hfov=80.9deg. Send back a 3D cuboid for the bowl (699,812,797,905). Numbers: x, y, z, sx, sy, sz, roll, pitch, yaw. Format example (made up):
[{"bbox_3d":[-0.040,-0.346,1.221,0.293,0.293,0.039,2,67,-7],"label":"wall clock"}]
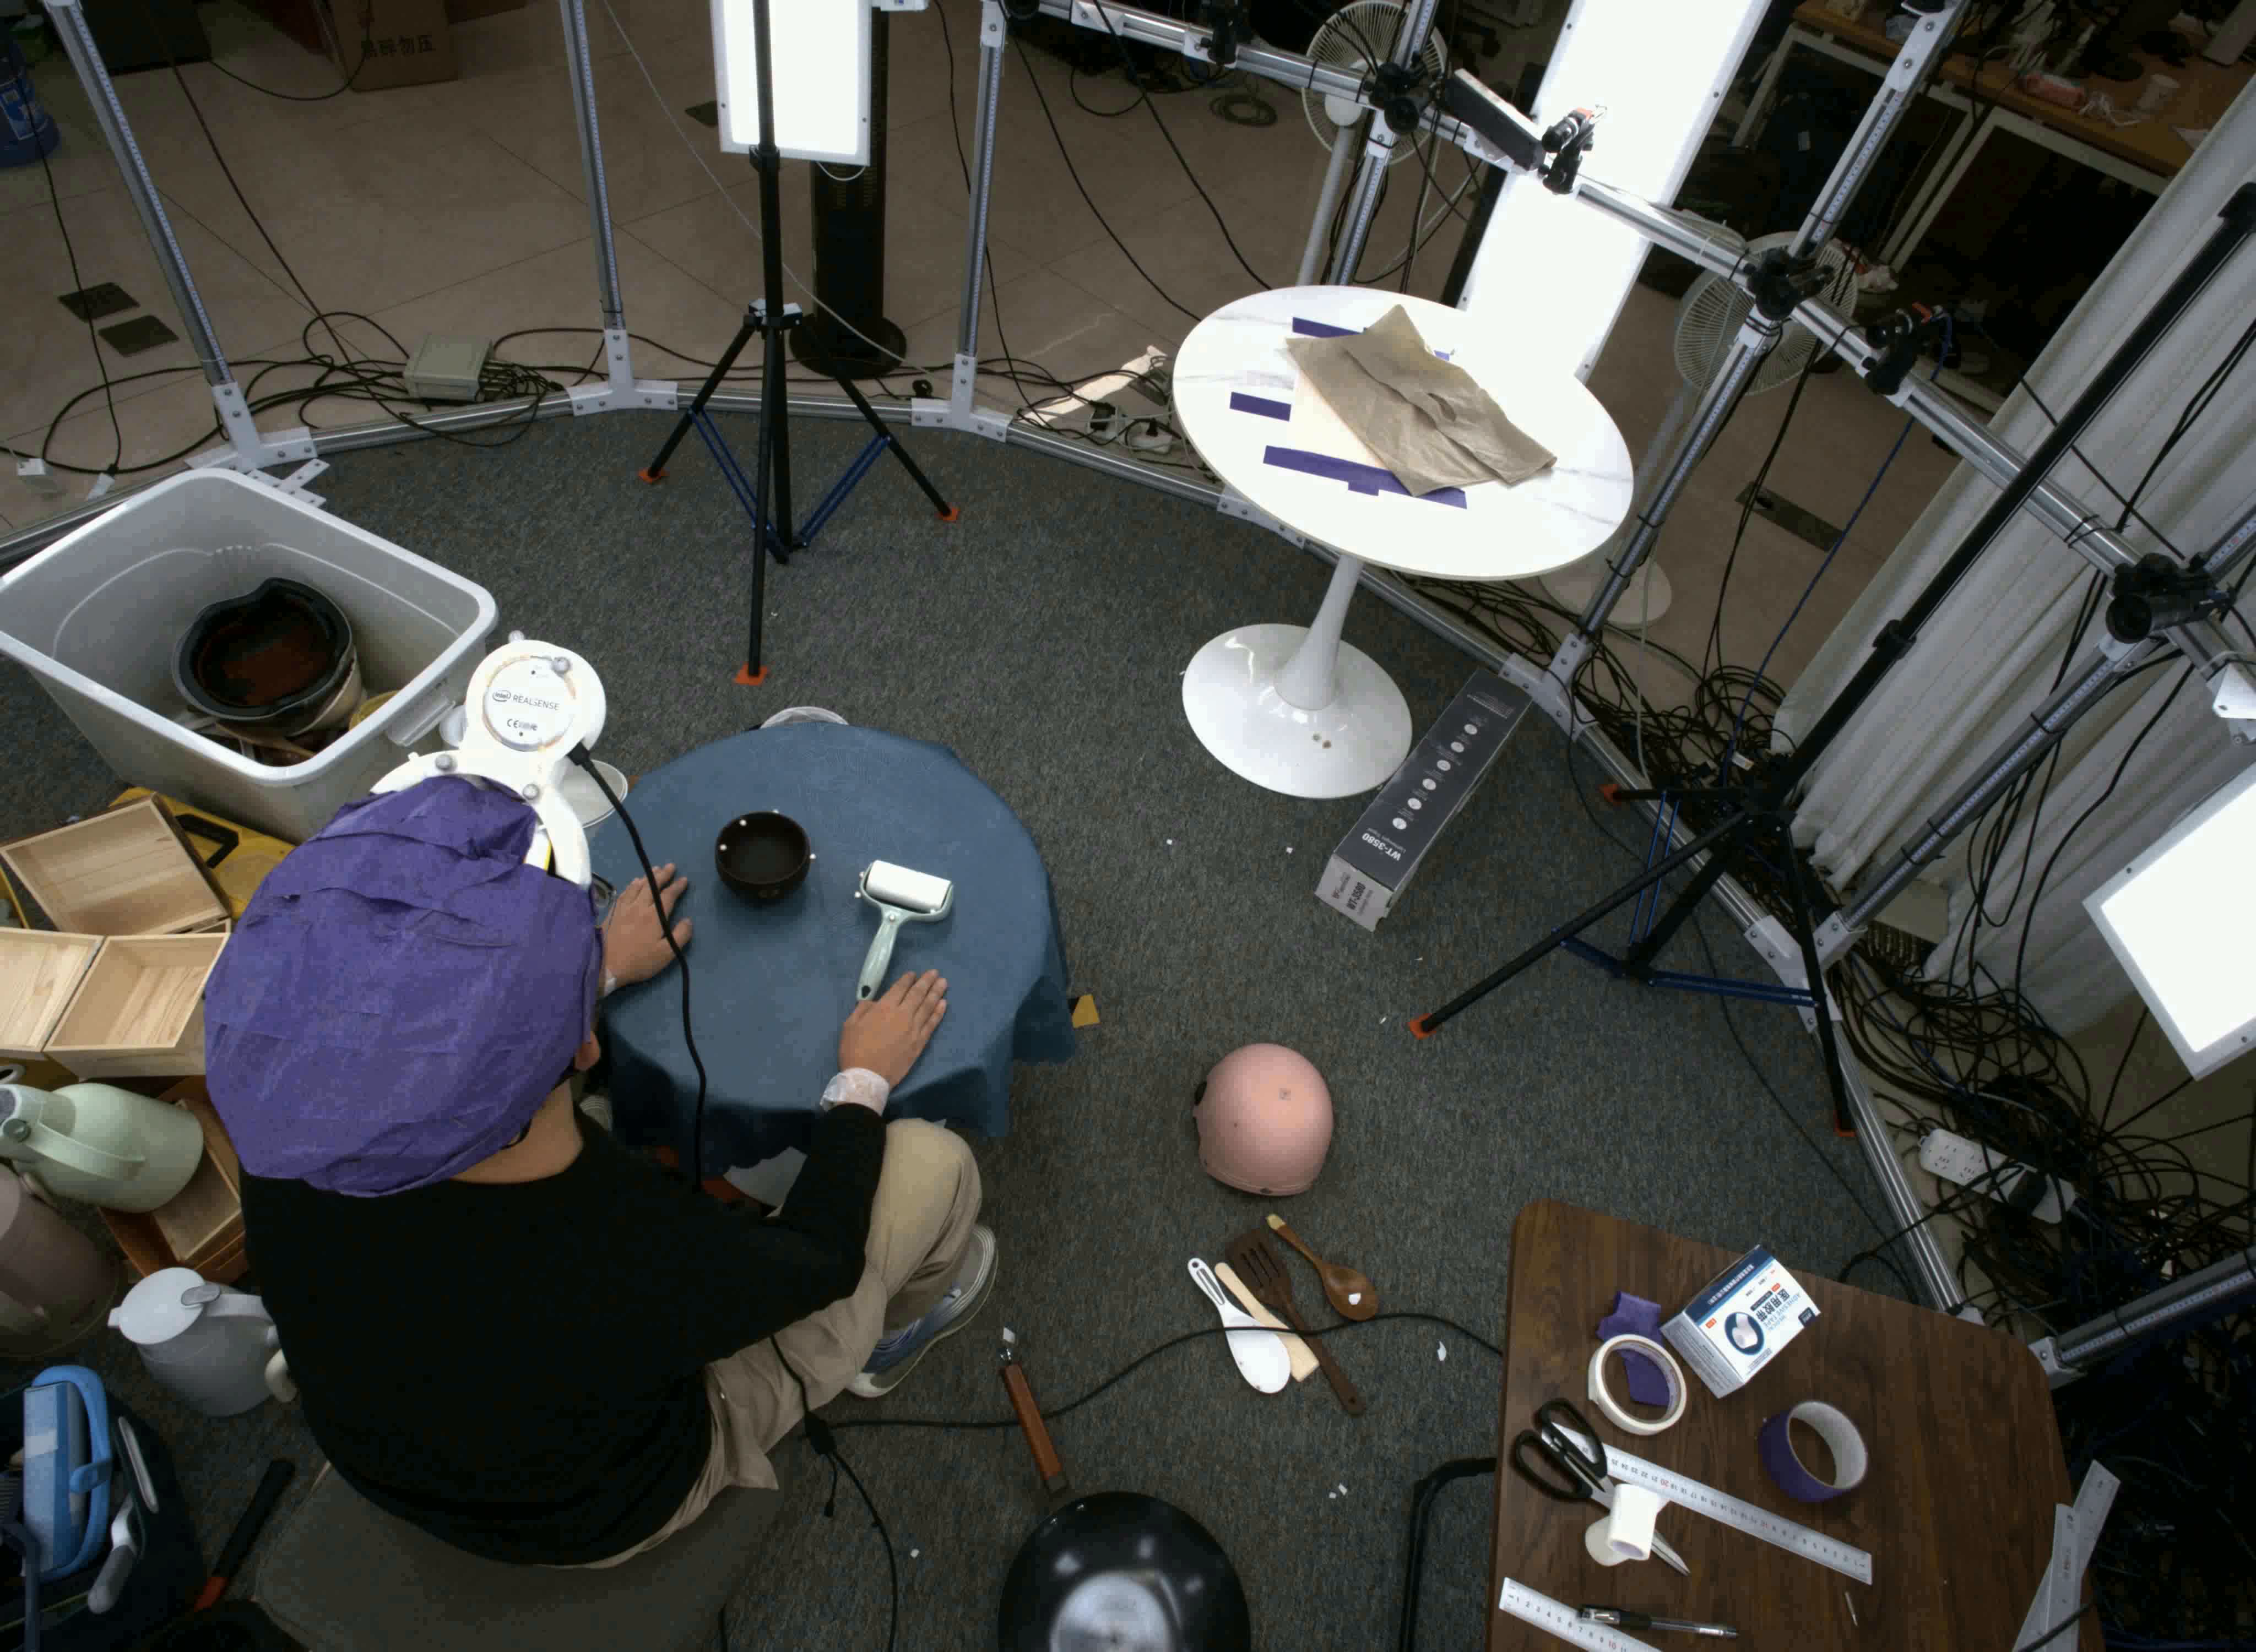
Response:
[{"bbox_3d":[-0.476,0.047,1.624,0.118,0.071,0.116,8,53,-9],"label":"bowl"}]

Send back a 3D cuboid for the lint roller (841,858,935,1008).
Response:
[{"bbox_3d":[-0.318,0.131,1.620,0.116,0.049,0.195,16,53,-3],"label":"lint roller"}]
